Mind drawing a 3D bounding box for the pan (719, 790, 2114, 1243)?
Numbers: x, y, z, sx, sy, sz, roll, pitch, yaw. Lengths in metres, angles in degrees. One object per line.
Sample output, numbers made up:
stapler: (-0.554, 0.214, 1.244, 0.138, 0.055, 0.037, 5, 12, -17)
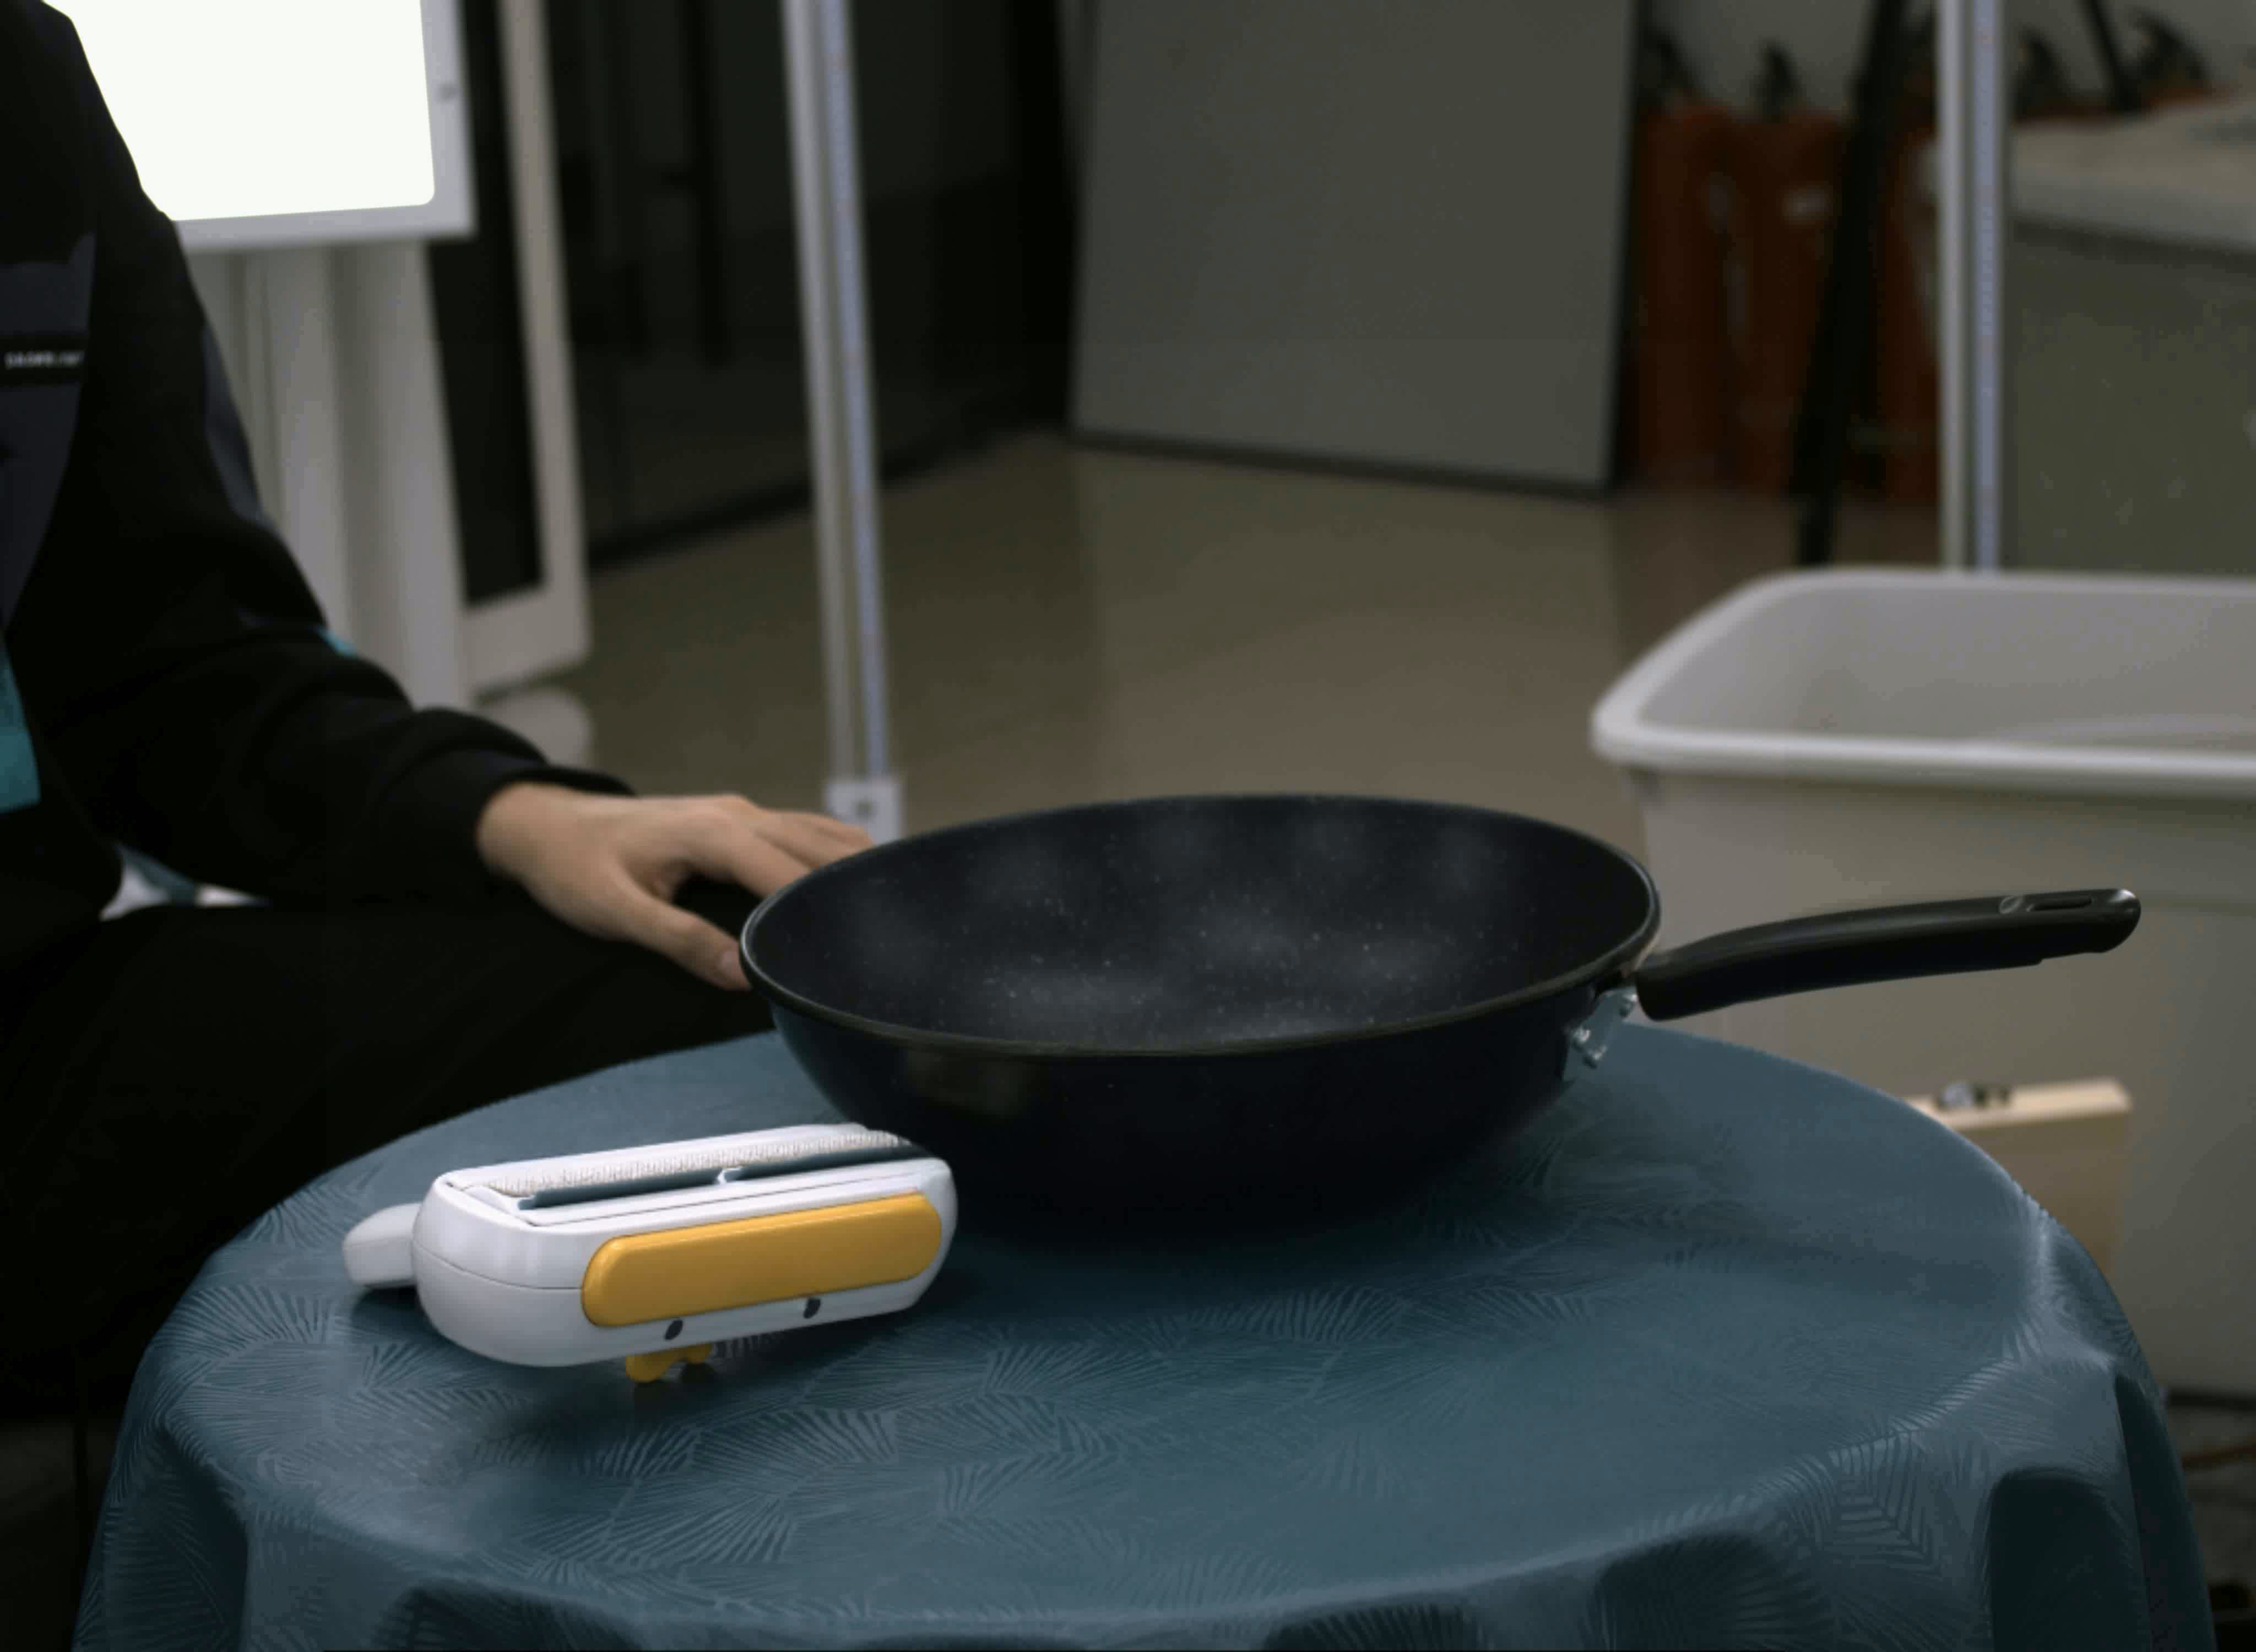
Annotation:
pan: (0.092, 0.063, 1.756, 0.478, 0.113, 0.306, 3, 17, 28)

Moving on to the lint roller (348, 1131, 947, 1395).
lint roller: (-0.175, 0.127, 1.661, 0.188, 0.075, 0.194, -9, 12, -42)
